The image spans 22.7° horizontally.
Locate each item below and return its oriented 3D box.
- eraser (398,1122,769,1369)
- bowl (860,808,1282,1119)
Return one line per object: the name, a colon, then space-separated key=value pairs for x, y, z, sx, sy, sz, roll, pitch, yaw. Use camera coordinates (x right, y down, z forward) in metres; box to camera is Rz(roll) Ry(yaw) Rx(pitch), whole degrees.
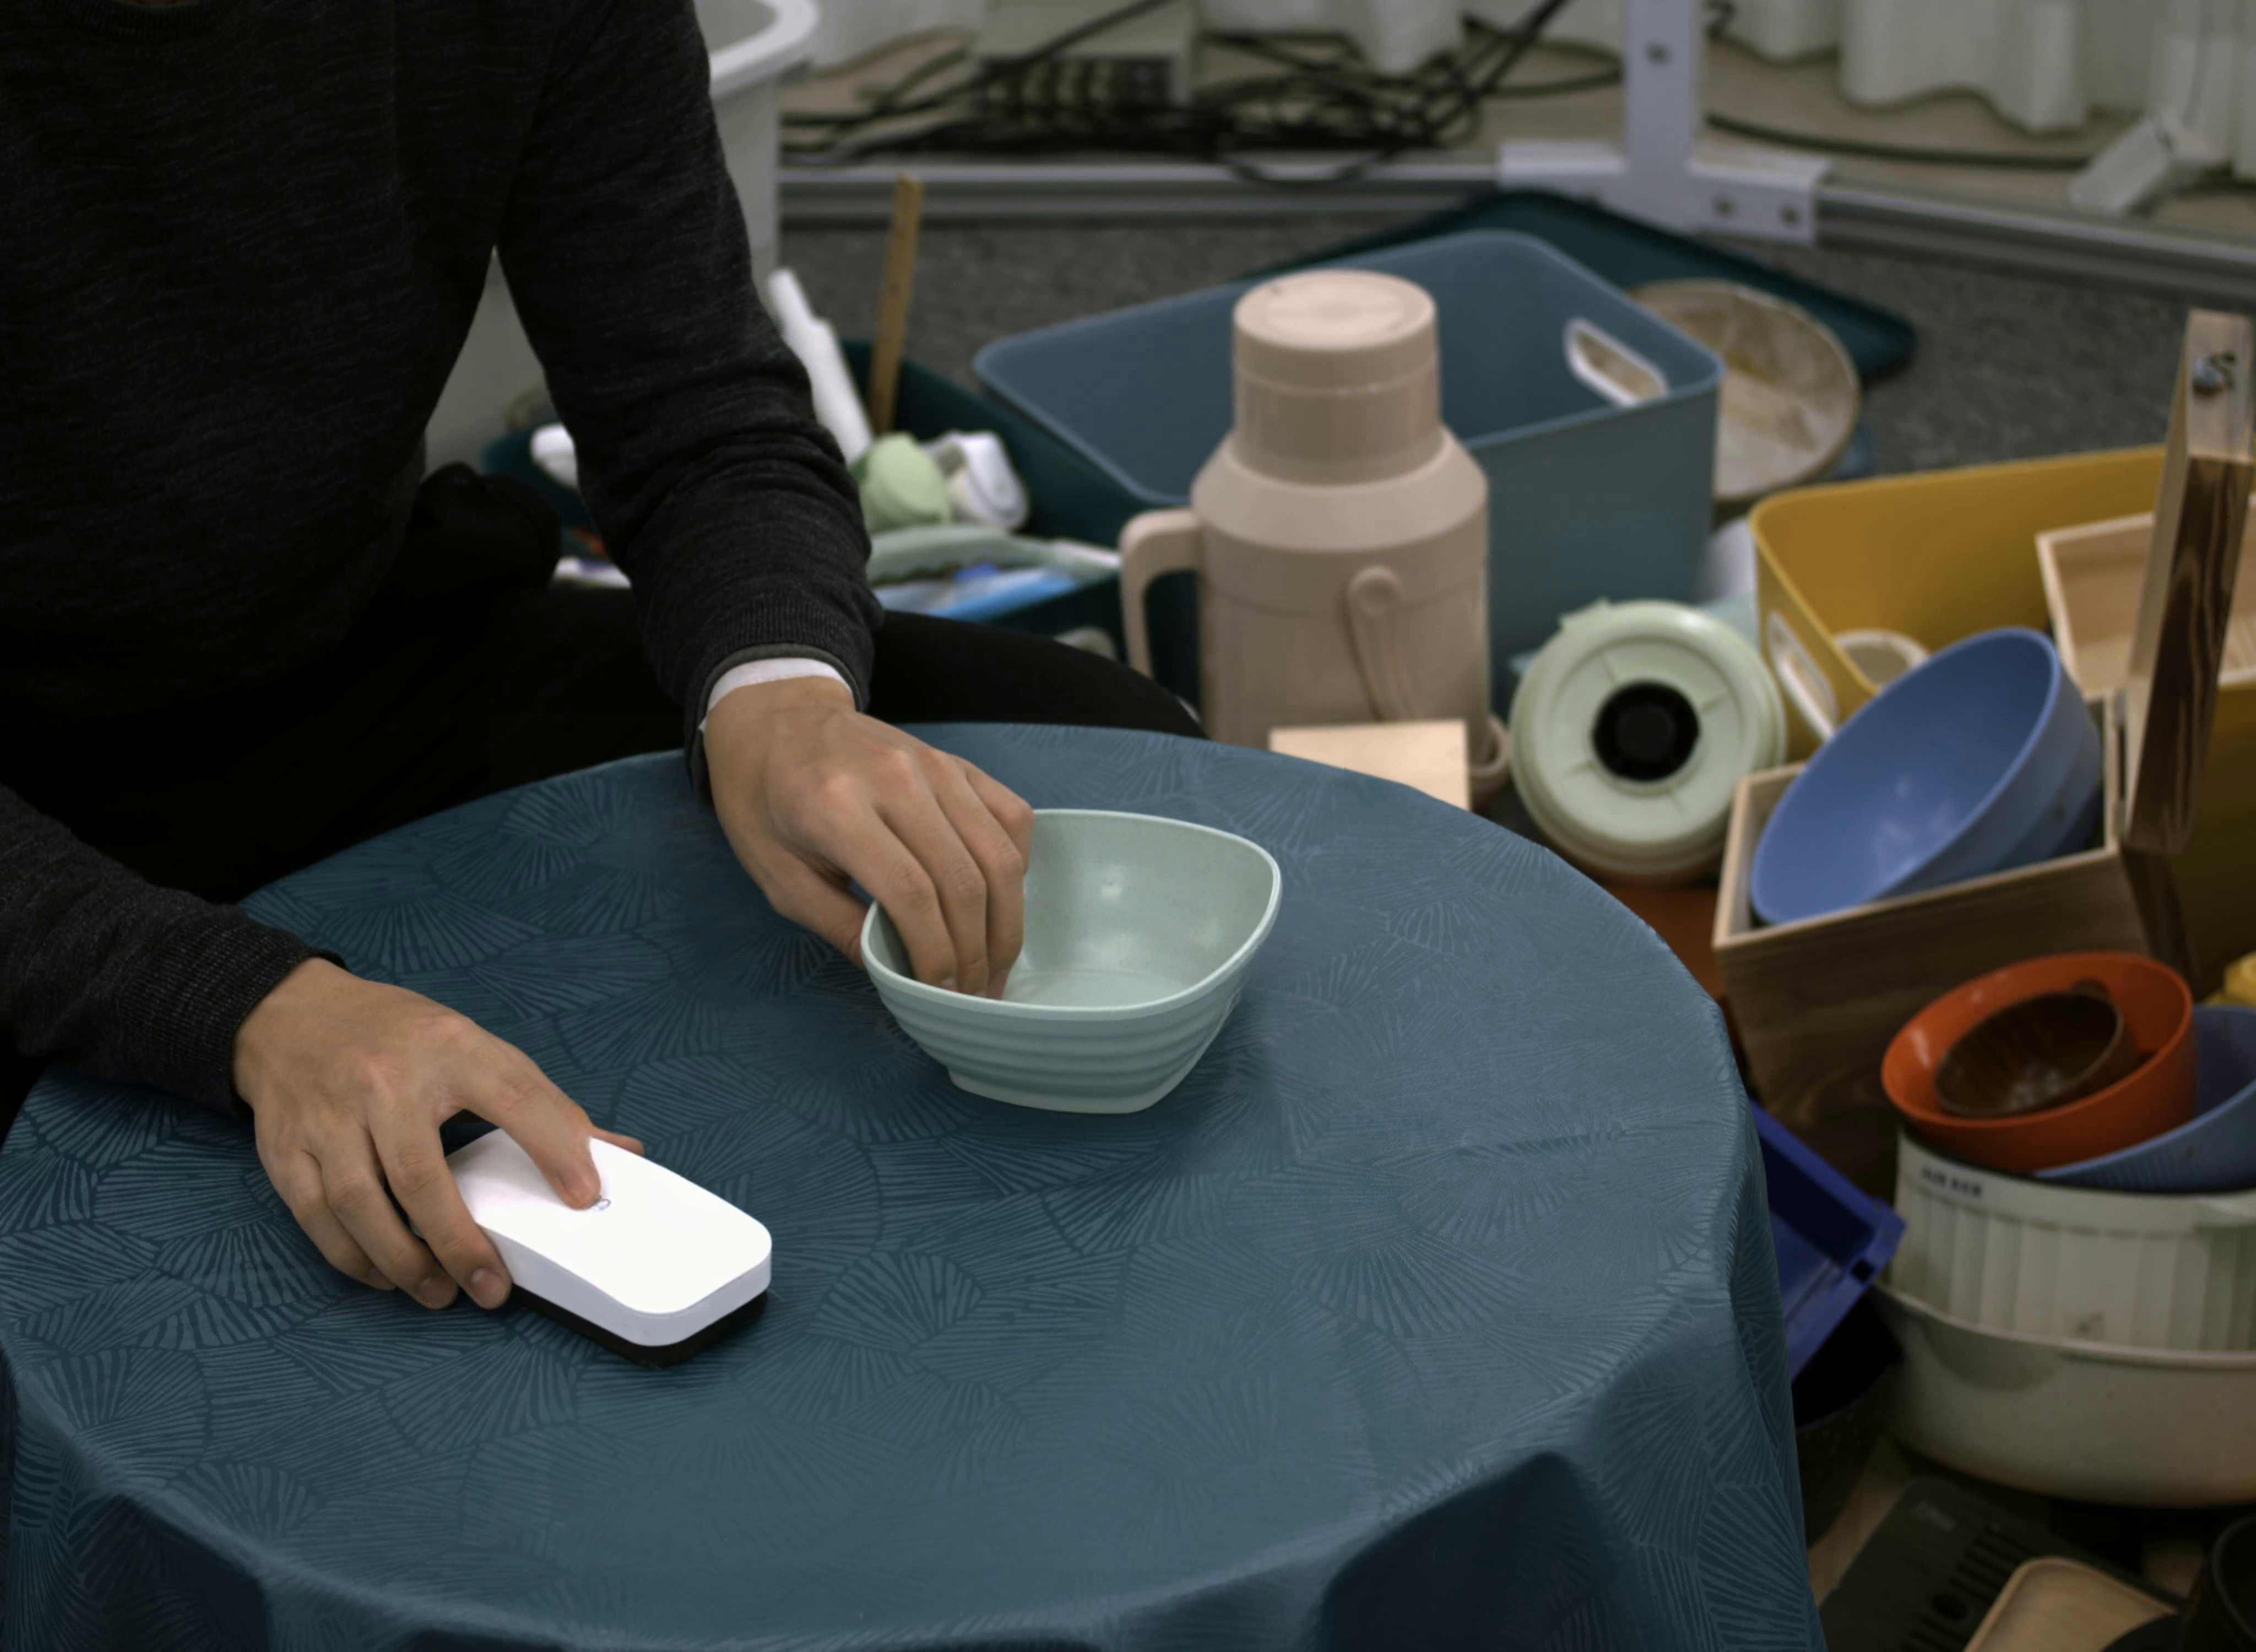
eraser: x=-0.176 y=0.133 z=1.823 sx=0.131 sy=0.034 sz=0.064 roll=23 pitch=35 yaw=37
bowl: x=-0.018 y=0.053 z=1.936 sx=0.151 sy=0.058 sz=0.154 roll=-1 pitch=28 yaw=1
